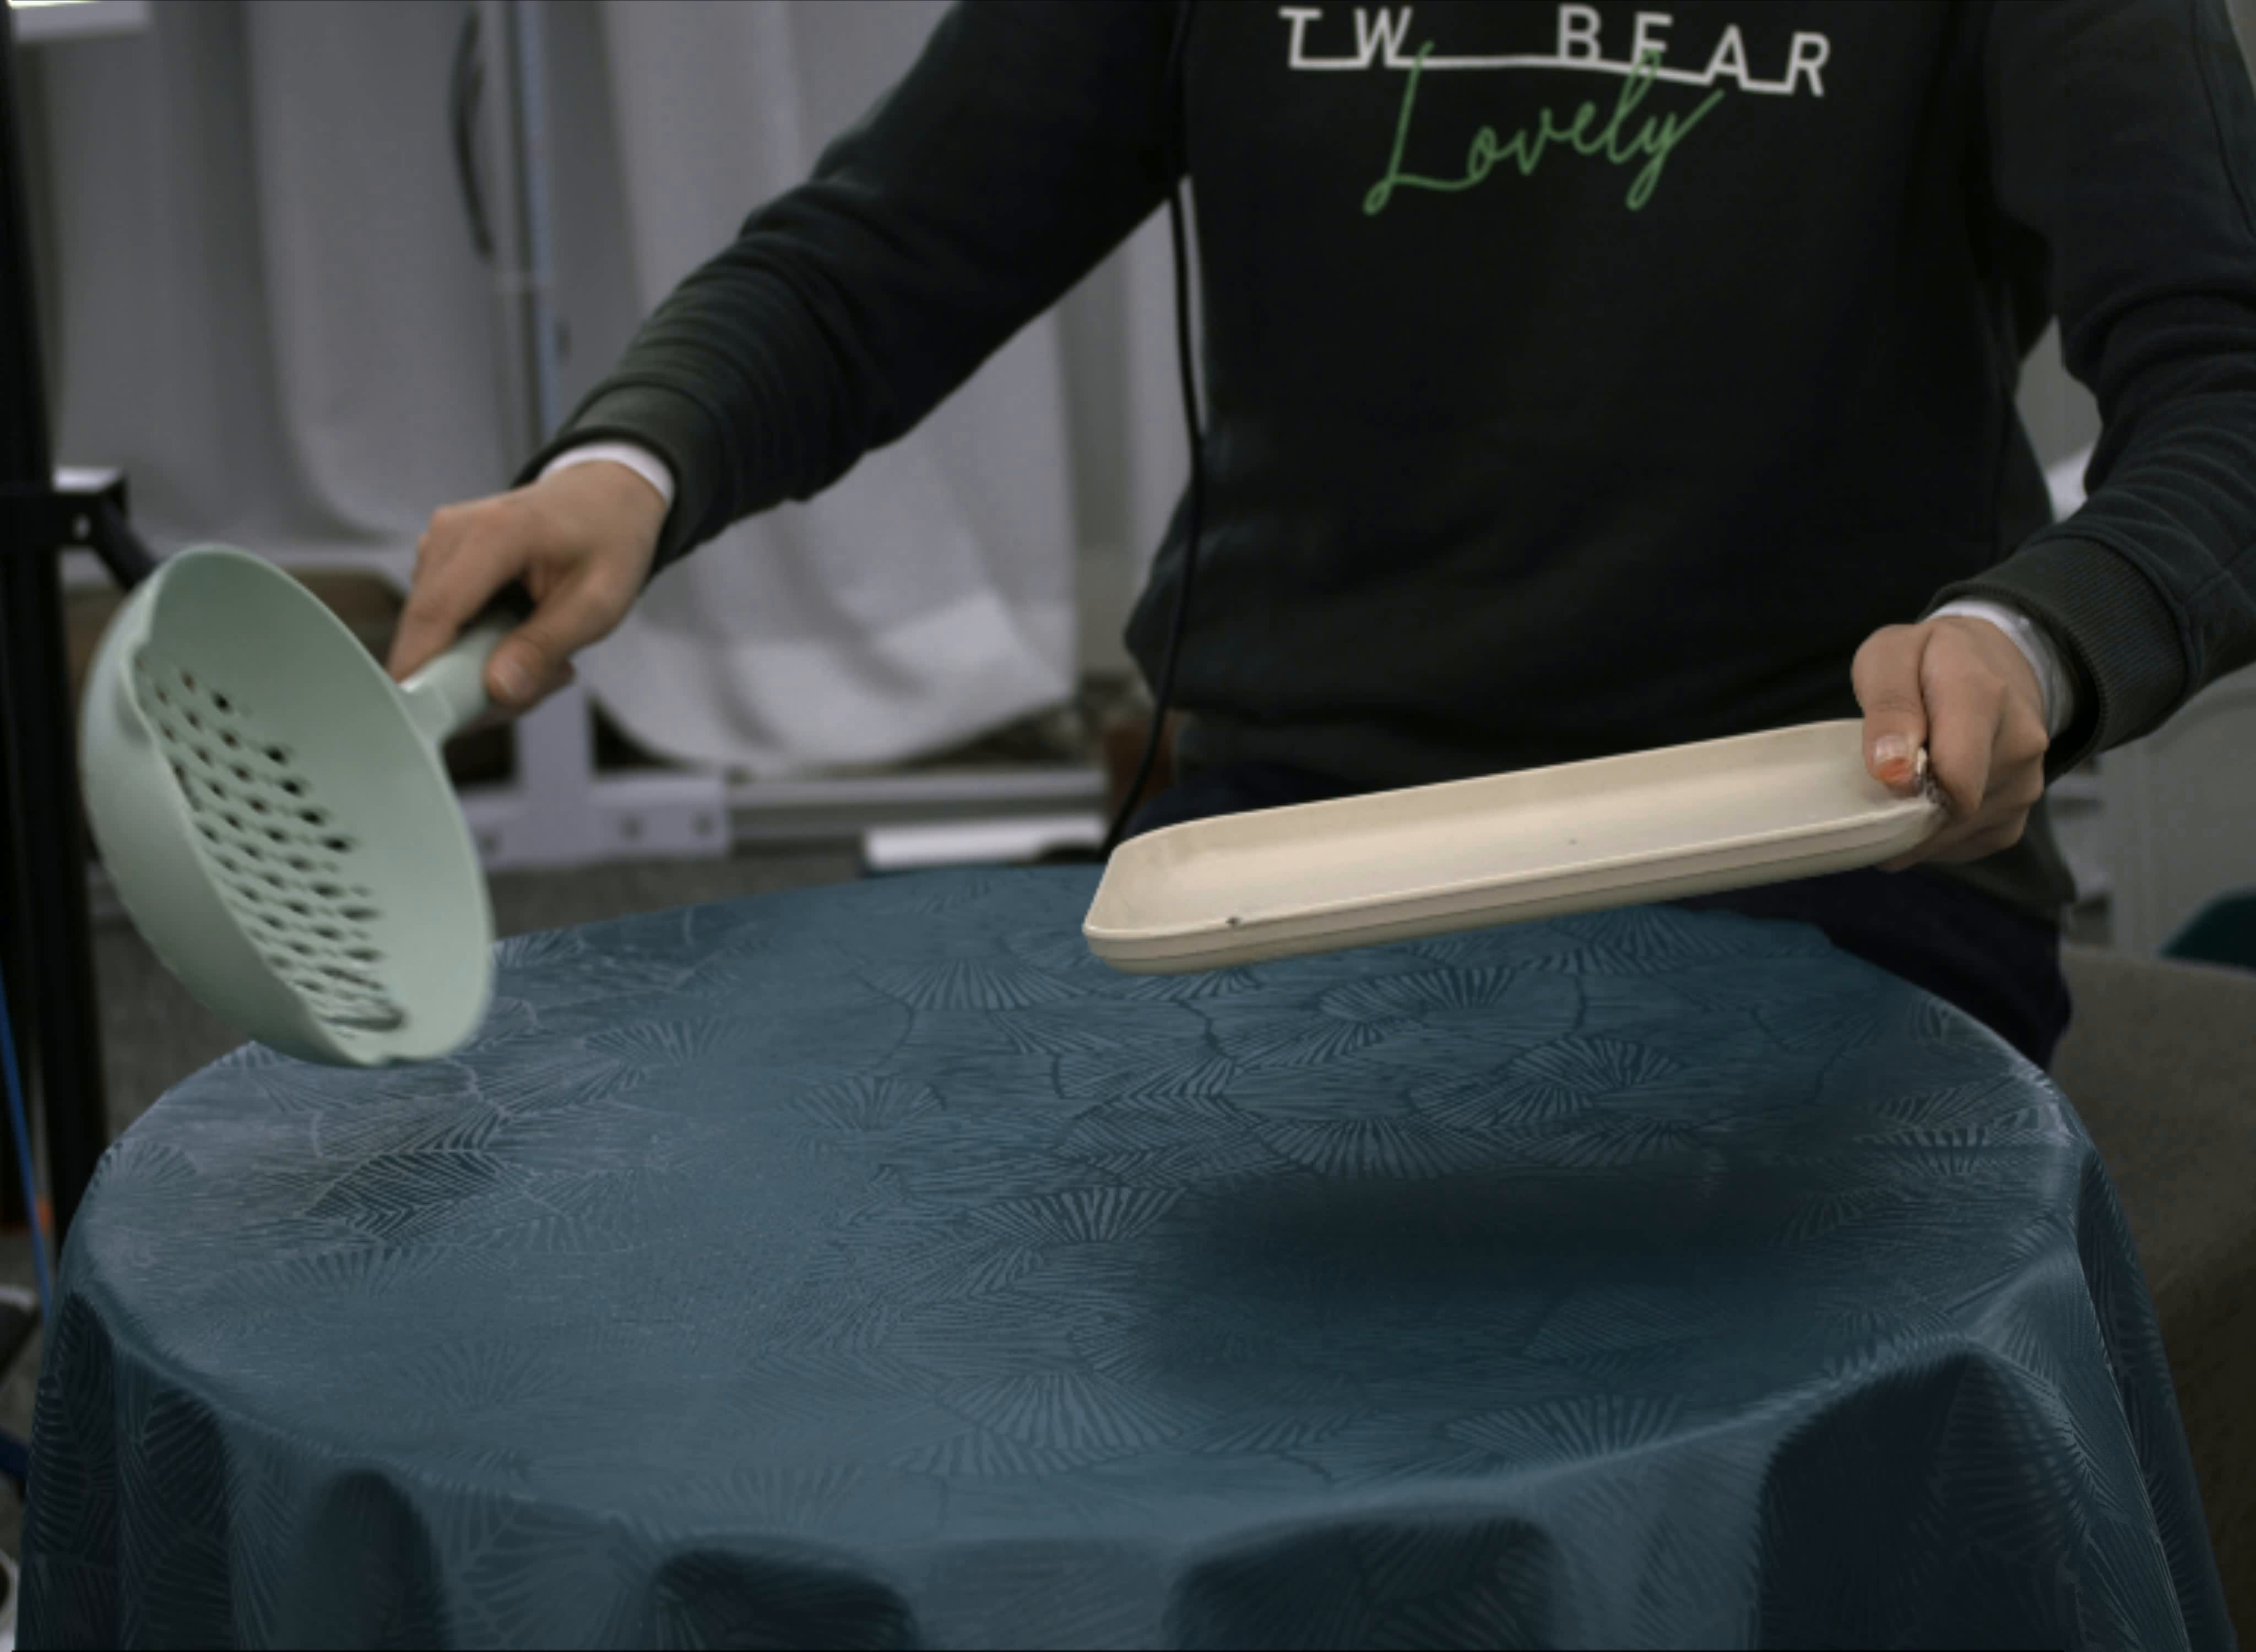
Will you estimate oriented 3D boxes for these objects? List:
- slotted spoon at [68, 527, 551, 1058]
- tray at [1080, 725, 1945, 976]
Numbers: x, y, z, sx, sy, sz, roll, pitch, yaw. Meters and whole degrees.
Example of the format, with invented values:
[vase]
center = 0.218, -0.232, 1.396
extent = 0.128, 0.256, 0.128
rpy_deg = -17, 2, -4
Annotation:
[slotted spoon]
center = -0.237, -0.032, 1.684
extent = 0.076, 0.169, 0.355
rpy_deg = -23, 10, 24
[tray]
center = 0.108, 0.008, 1.500
extent = 0.240, 0.017, 0.171
rpy_deg = -8, 9, 7
